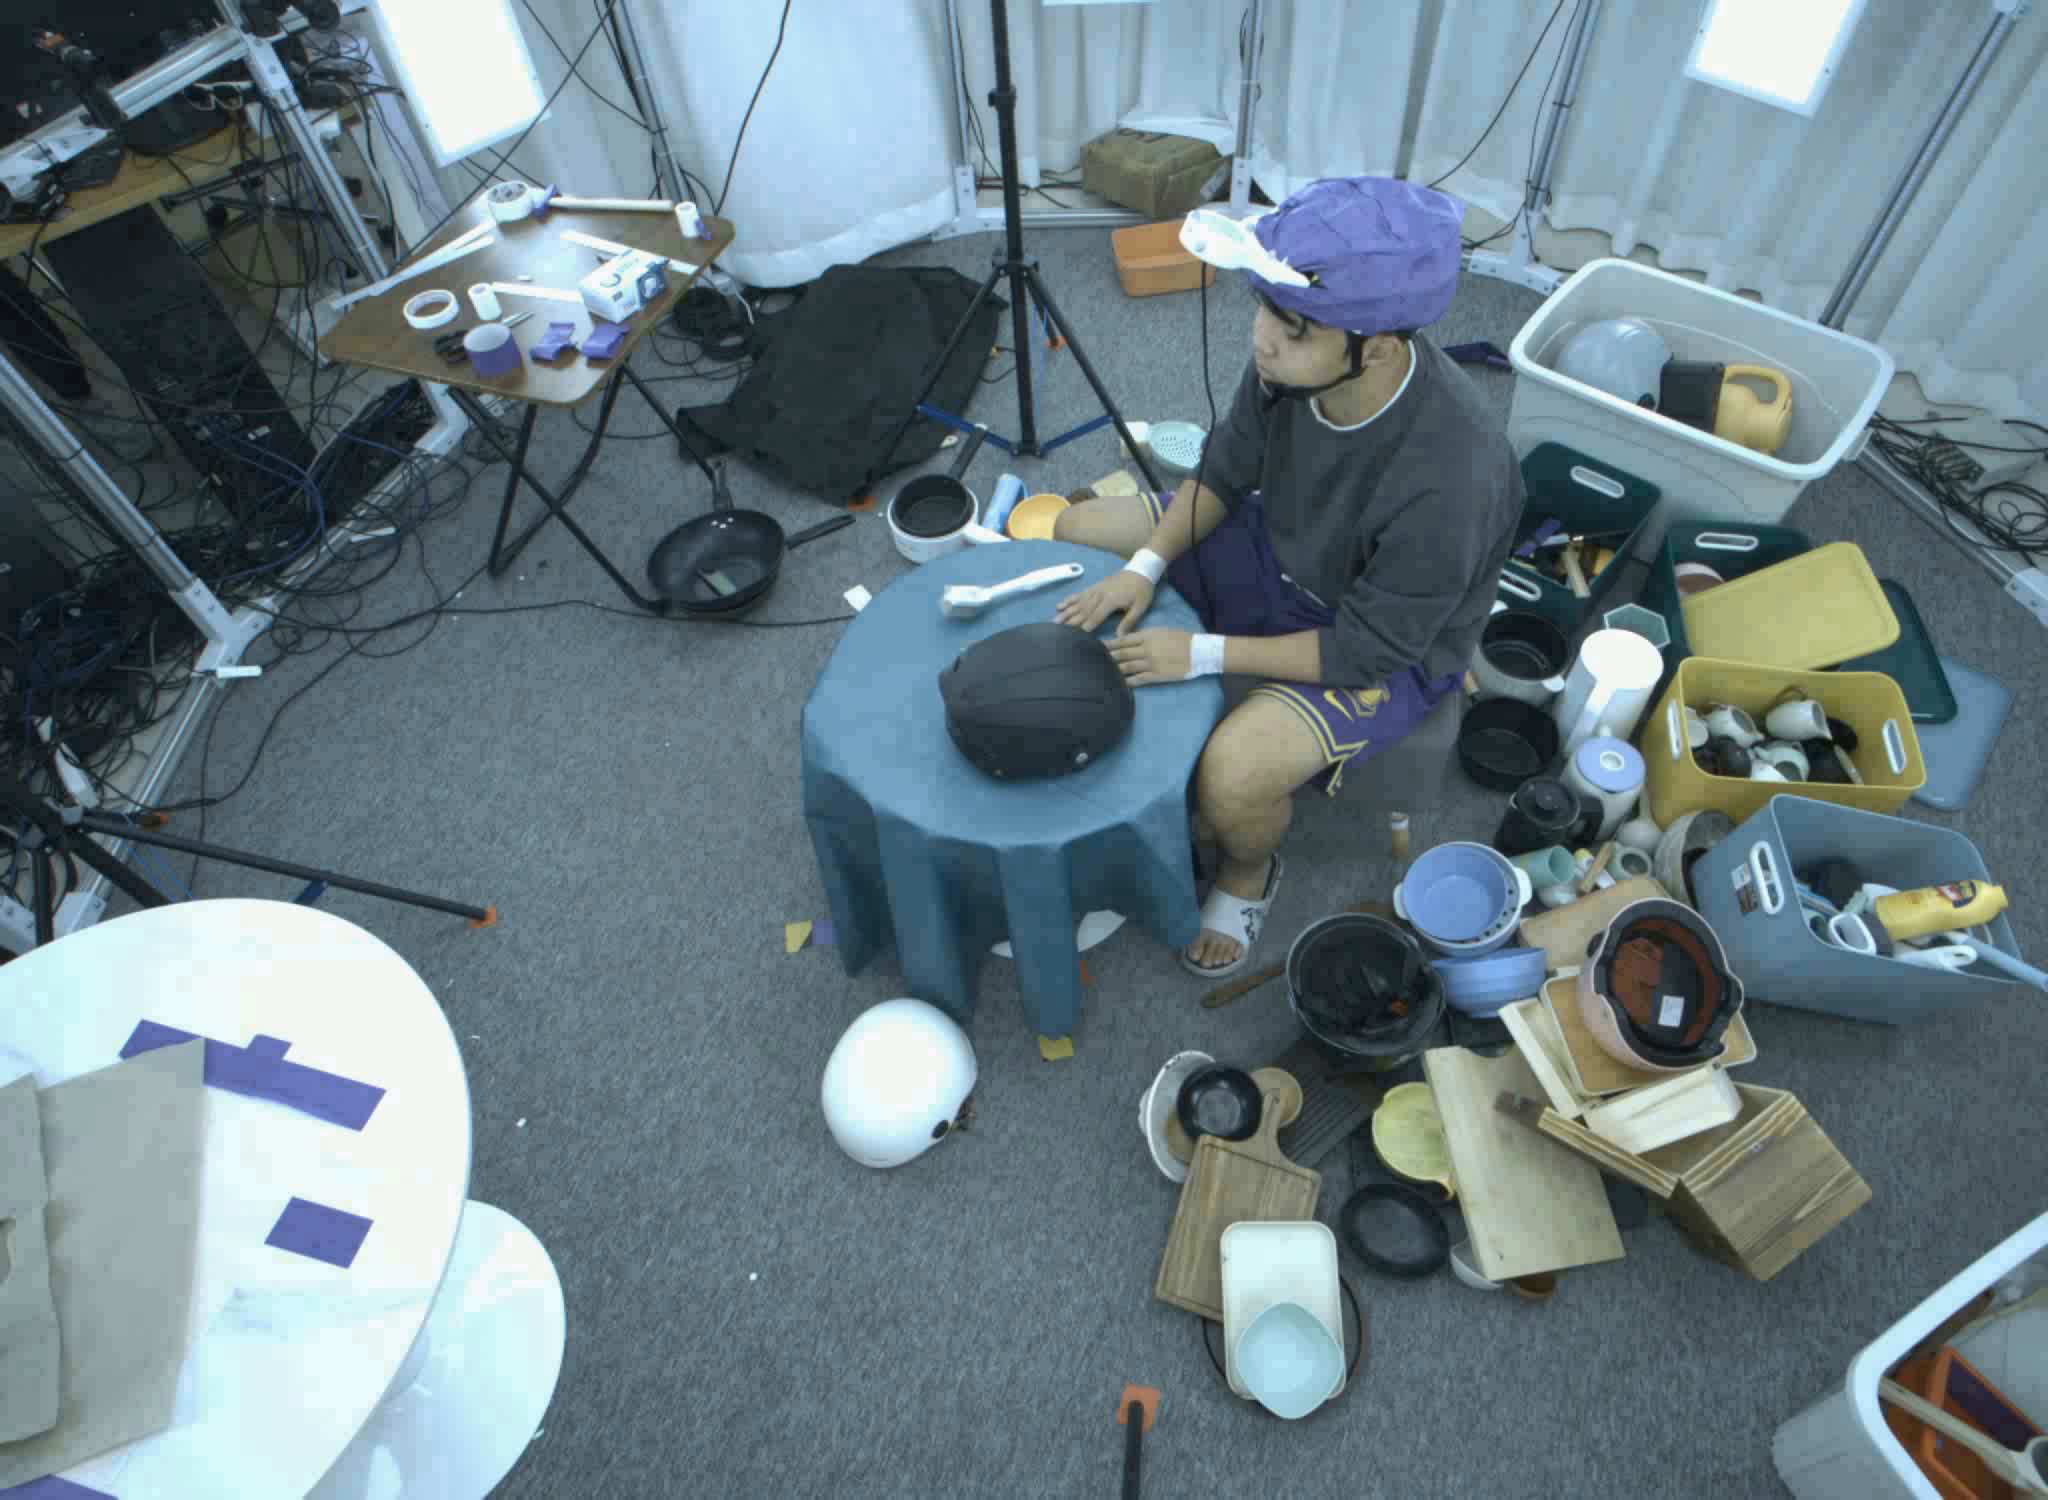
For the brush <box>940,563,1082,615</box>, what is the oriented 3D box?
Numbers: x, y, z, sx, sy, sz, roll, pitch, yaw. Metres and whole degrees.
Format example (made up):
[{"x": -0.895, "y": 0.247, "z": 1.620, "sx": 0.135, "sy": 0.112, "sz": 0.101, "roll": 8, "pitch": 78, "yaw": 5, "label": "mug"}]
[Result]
[{"x": -0.019, "y": -0.256, "z": 1.959, "sx": 0.247, "sy": 0.050, "sz": 0.034, "roll": -15, "pitch": 60, "yaw": -25, "label": "brush"}]

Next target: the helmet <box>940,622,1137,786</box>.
[{"x": 0.019, "y": -0.086, "z": 1.752, "sx": 0.278, "sy": 0.174, "sz": 0.242, "roll": -15, "pitch": 55, "yaw": -6, "label": "helmet"}]
